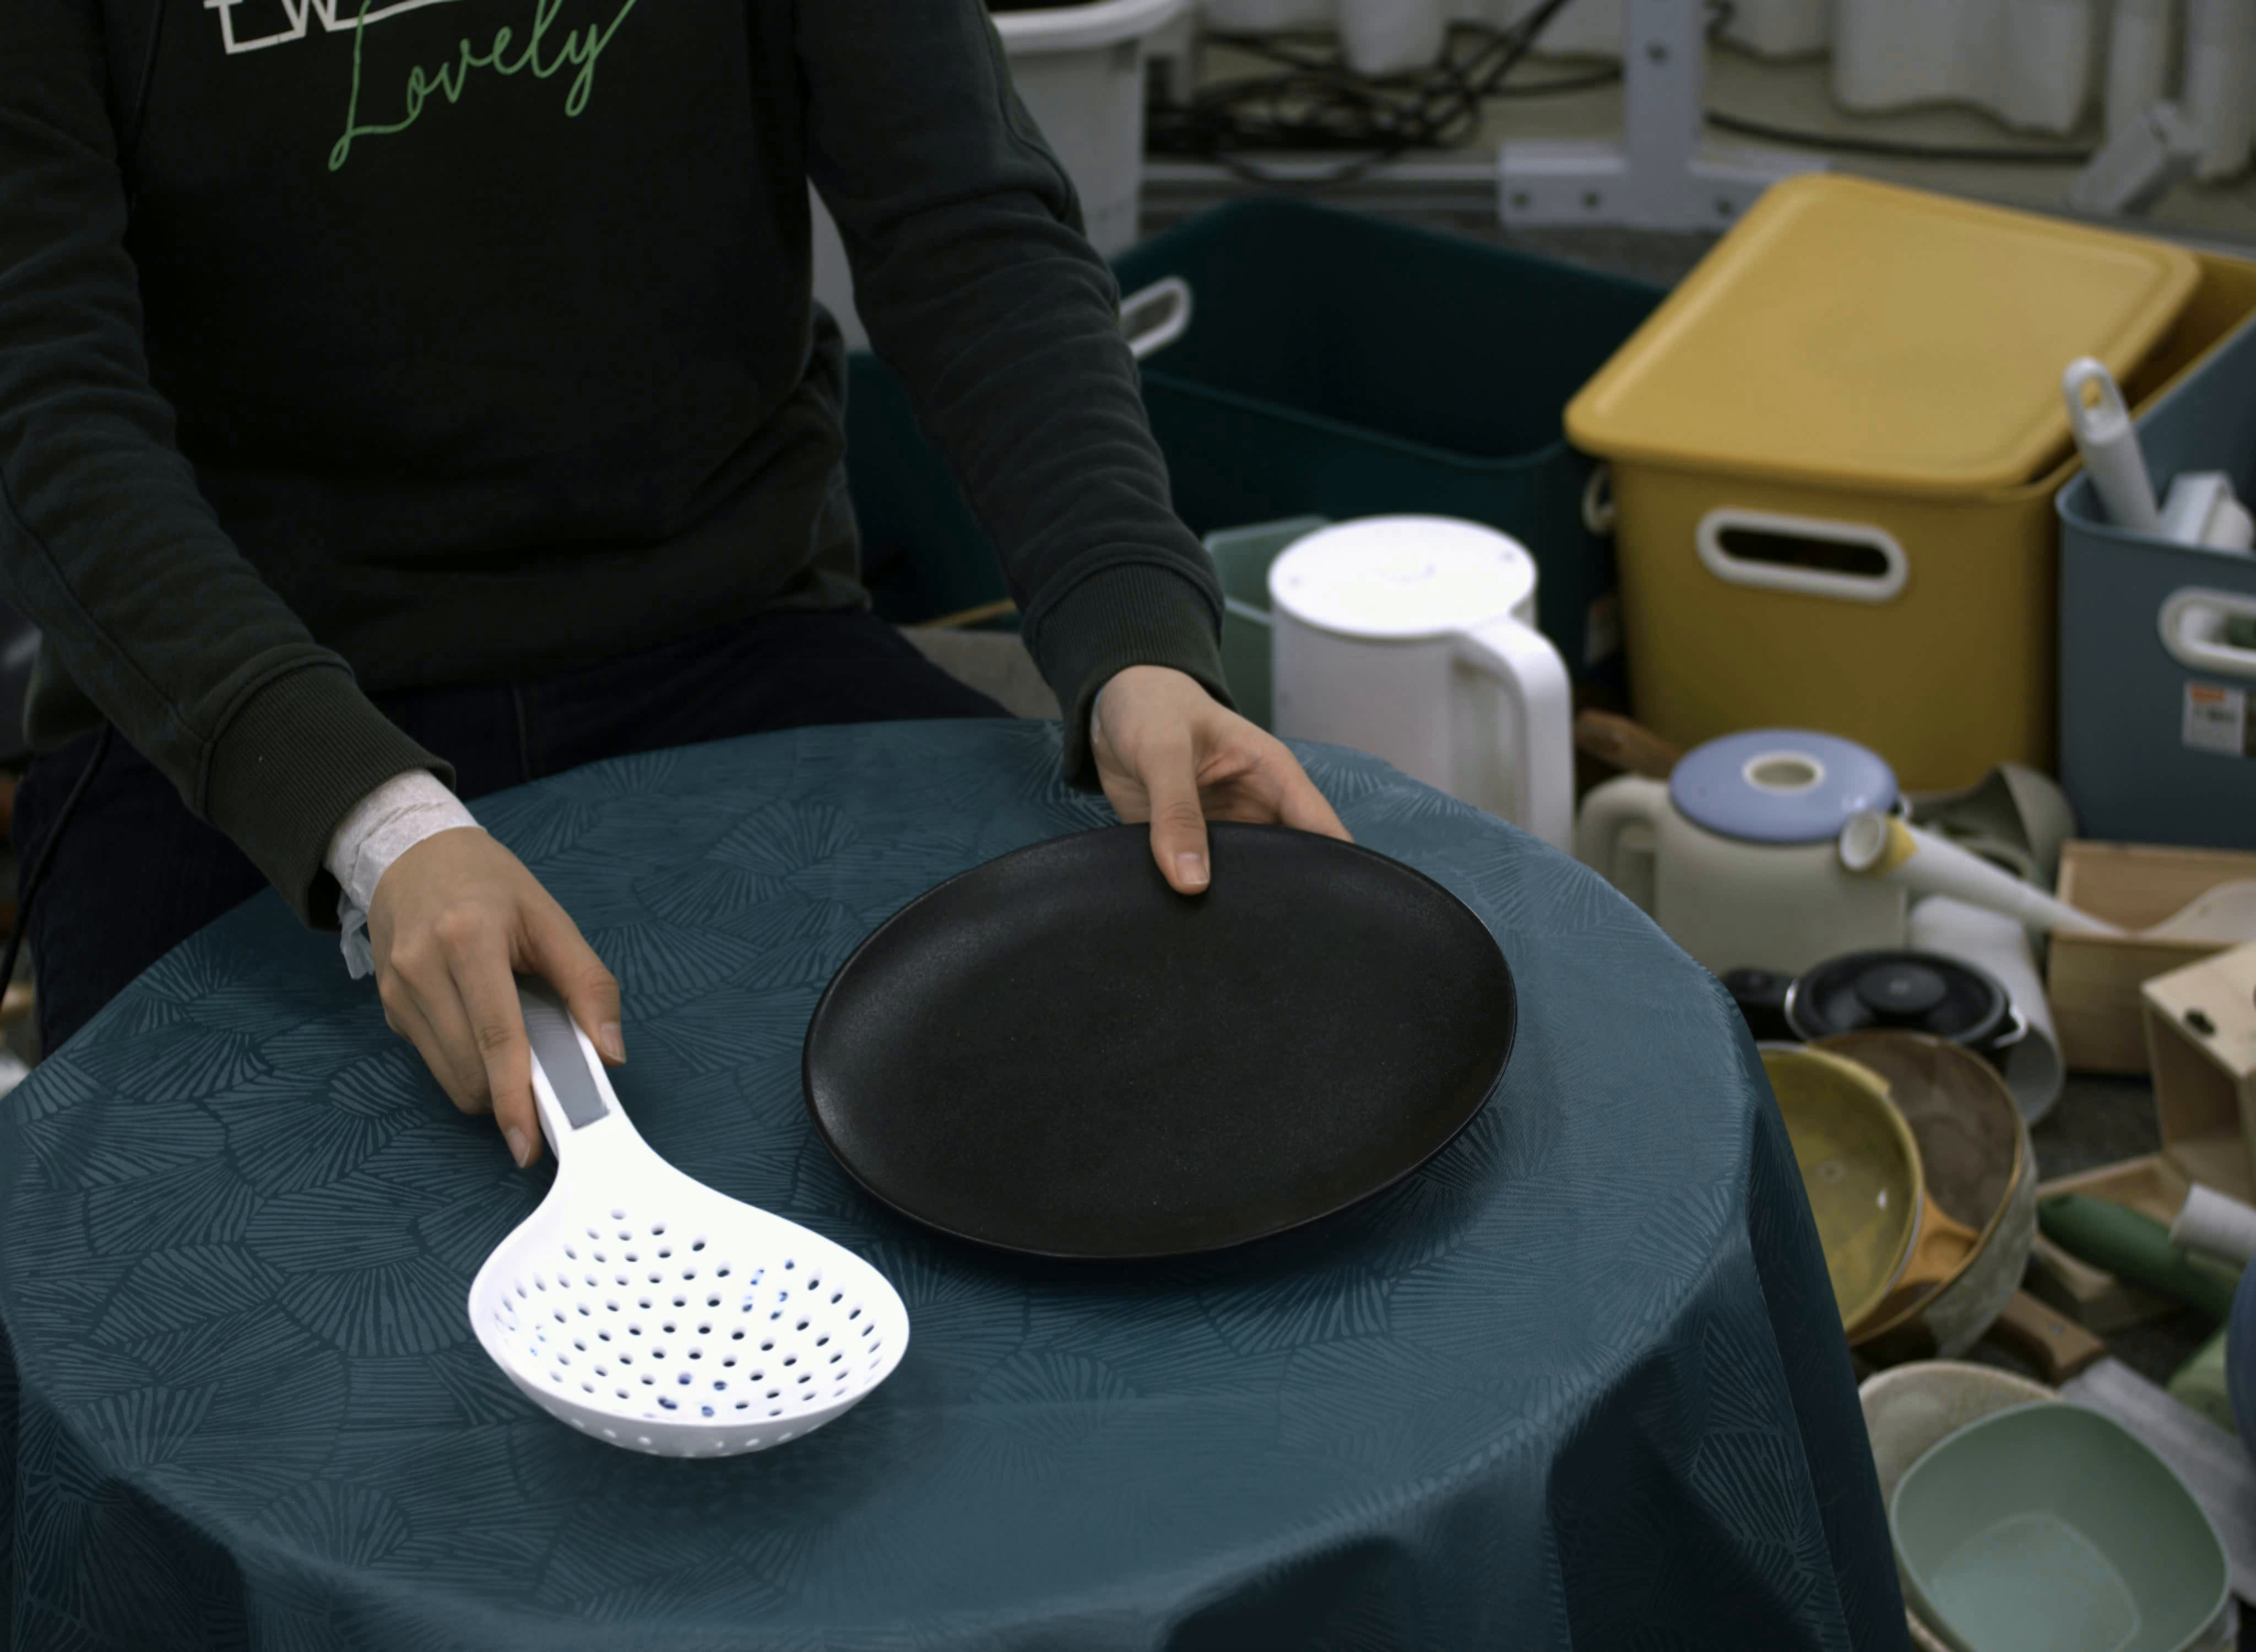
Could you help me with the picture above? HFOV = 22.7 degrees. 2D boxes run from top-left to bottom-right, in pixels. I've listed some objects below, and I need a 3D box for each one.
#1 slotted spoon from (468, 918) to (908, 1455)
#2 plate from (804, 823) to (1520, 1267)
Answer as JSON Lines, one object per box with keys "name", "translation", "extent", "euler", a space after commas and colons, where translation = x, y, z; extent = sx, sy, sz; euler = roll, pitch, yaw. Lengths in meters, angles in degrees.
{"name": "slotted spoon", "translation": [-0.169, 0.111, 1.829], "extent": [0.136, 0.045, 0.353], "euler": [0, 29, -19]}
{"name": "plate", "translation": [0.012, 0.076, 1.898], "extent": [0.243, 0.023, 0.249], "euler": [-4, 34, 3]}
